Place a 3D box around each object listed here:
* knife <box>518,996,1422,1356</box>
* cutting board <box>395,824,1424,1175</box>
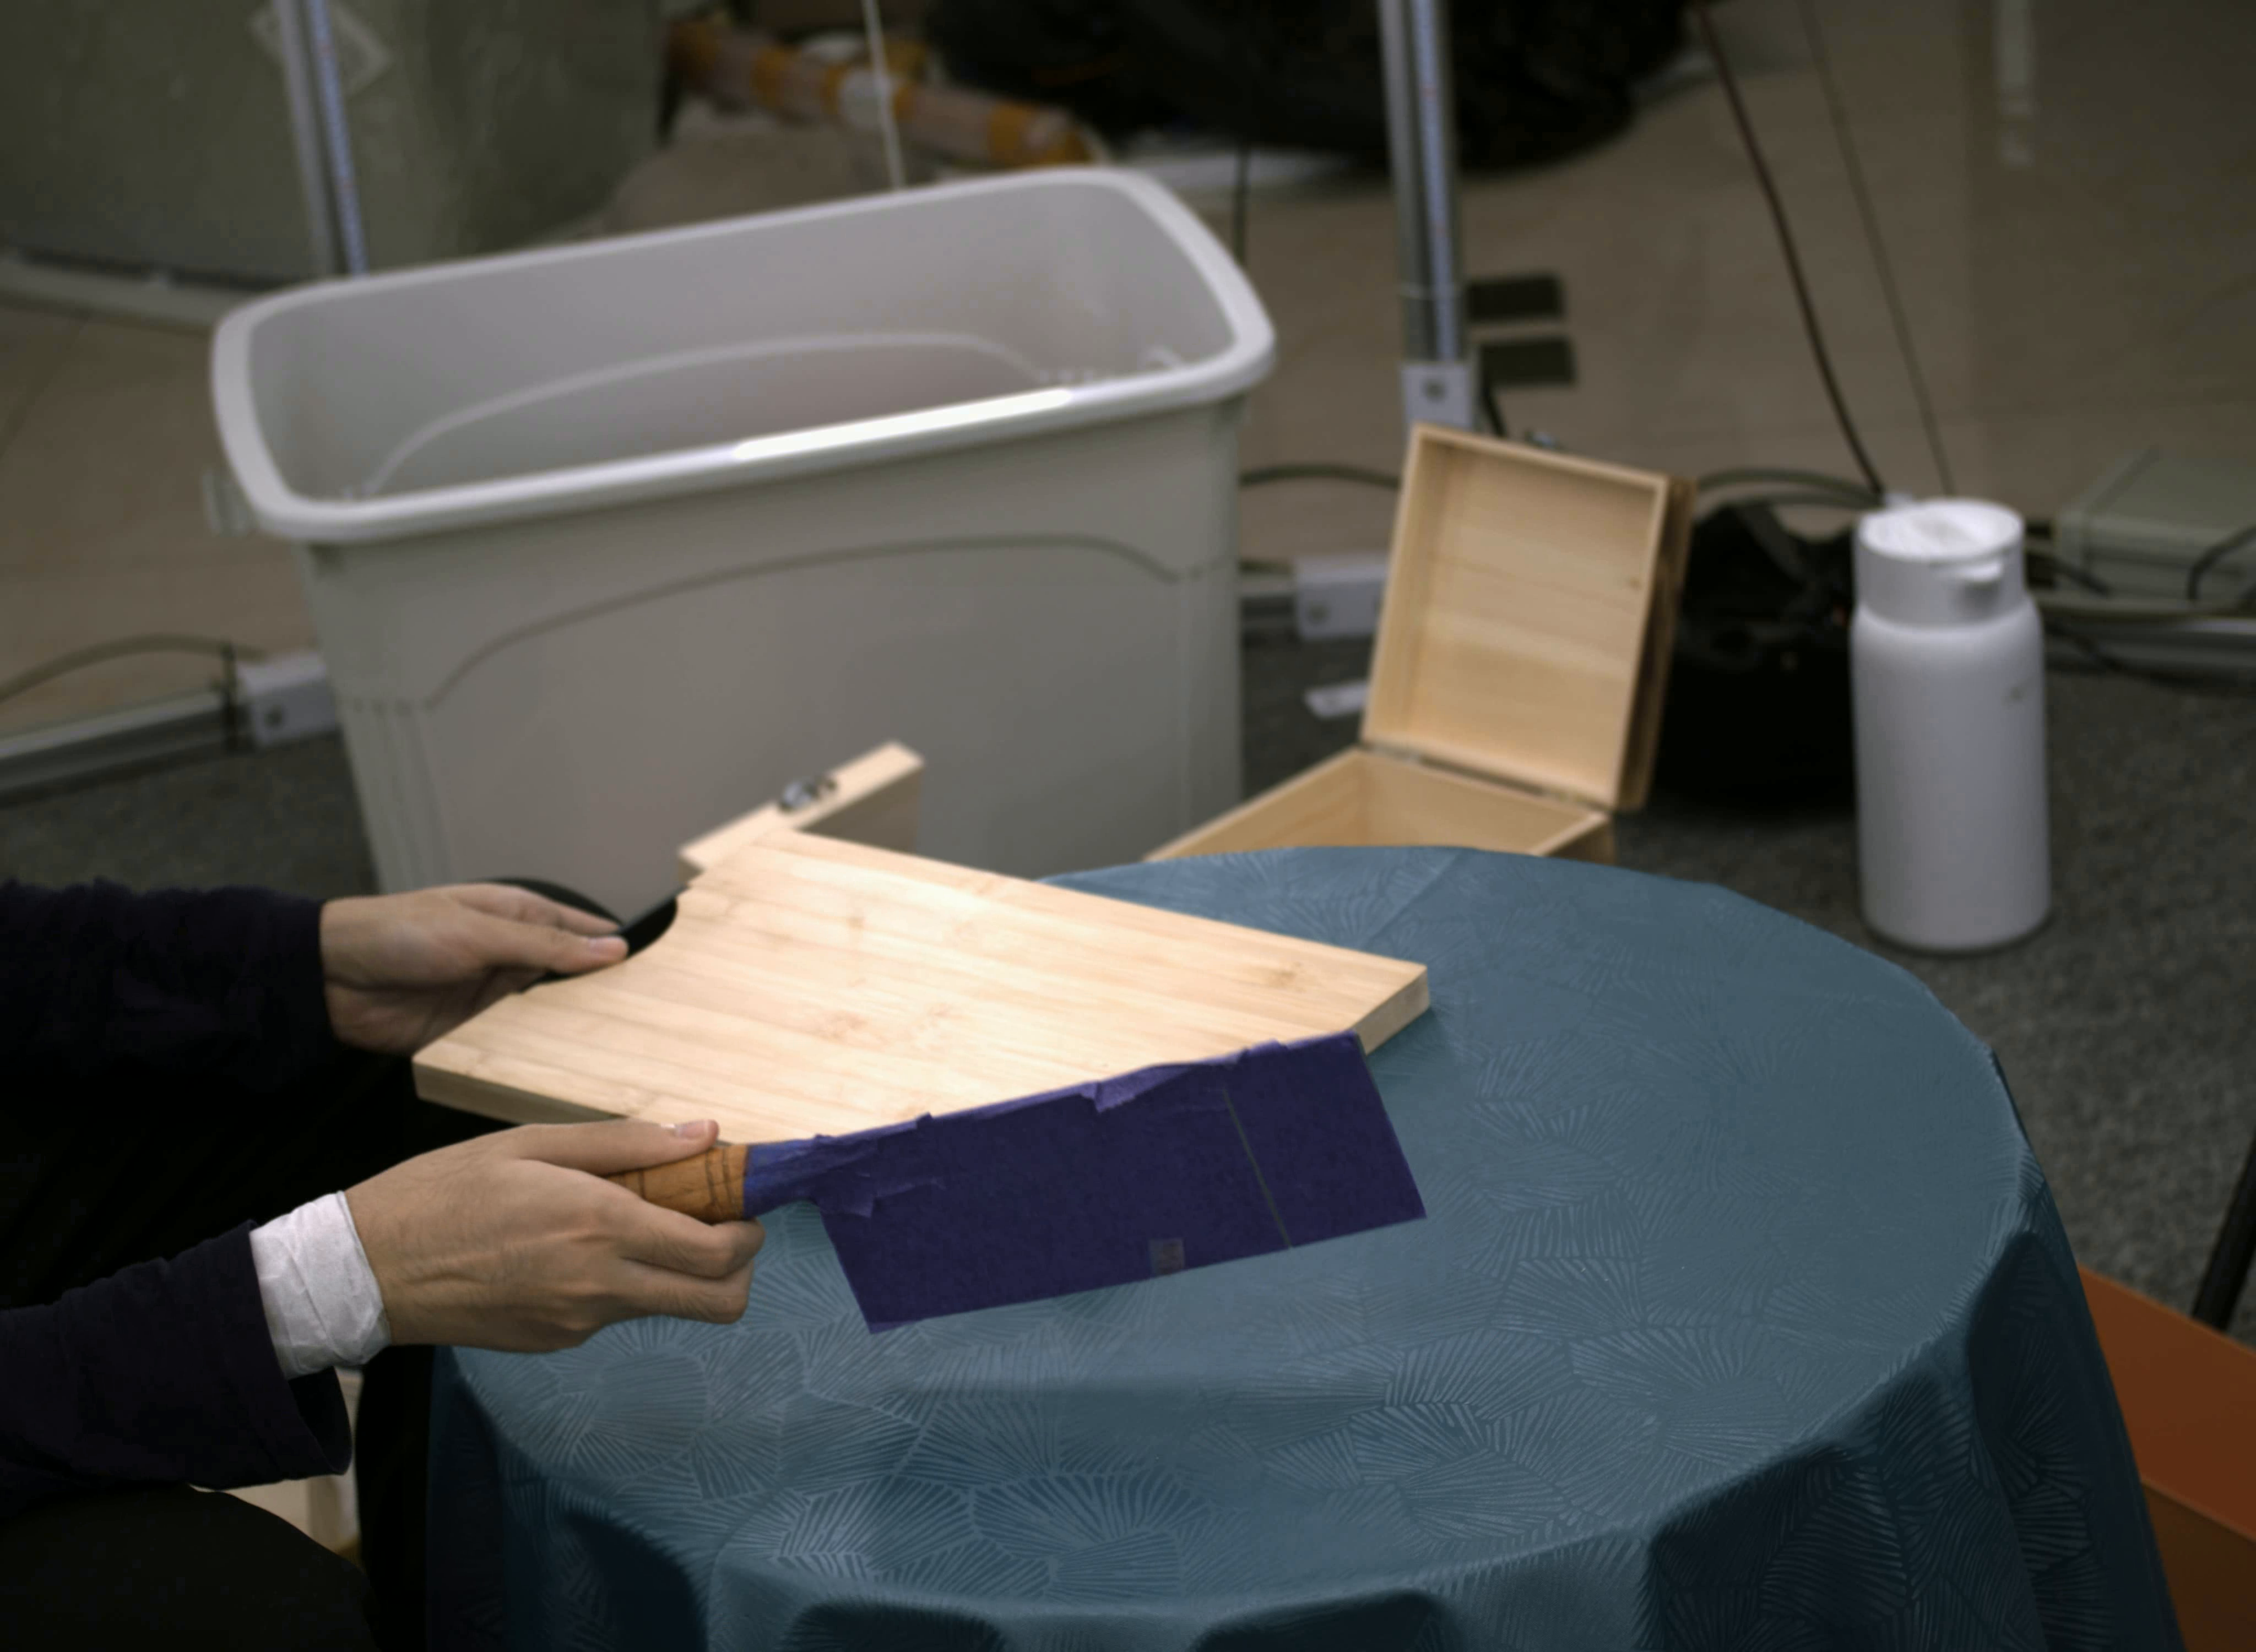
[{"bbox_3d":[-0.056,0.140,1.994,0.315,0.105,0.032,-13,24,14],"label":"knife"},{"bbox_3d":[-0.089,0.082,2.277,0.347,0.024,0.248,11,30,34],"label":"cutting board"}]
